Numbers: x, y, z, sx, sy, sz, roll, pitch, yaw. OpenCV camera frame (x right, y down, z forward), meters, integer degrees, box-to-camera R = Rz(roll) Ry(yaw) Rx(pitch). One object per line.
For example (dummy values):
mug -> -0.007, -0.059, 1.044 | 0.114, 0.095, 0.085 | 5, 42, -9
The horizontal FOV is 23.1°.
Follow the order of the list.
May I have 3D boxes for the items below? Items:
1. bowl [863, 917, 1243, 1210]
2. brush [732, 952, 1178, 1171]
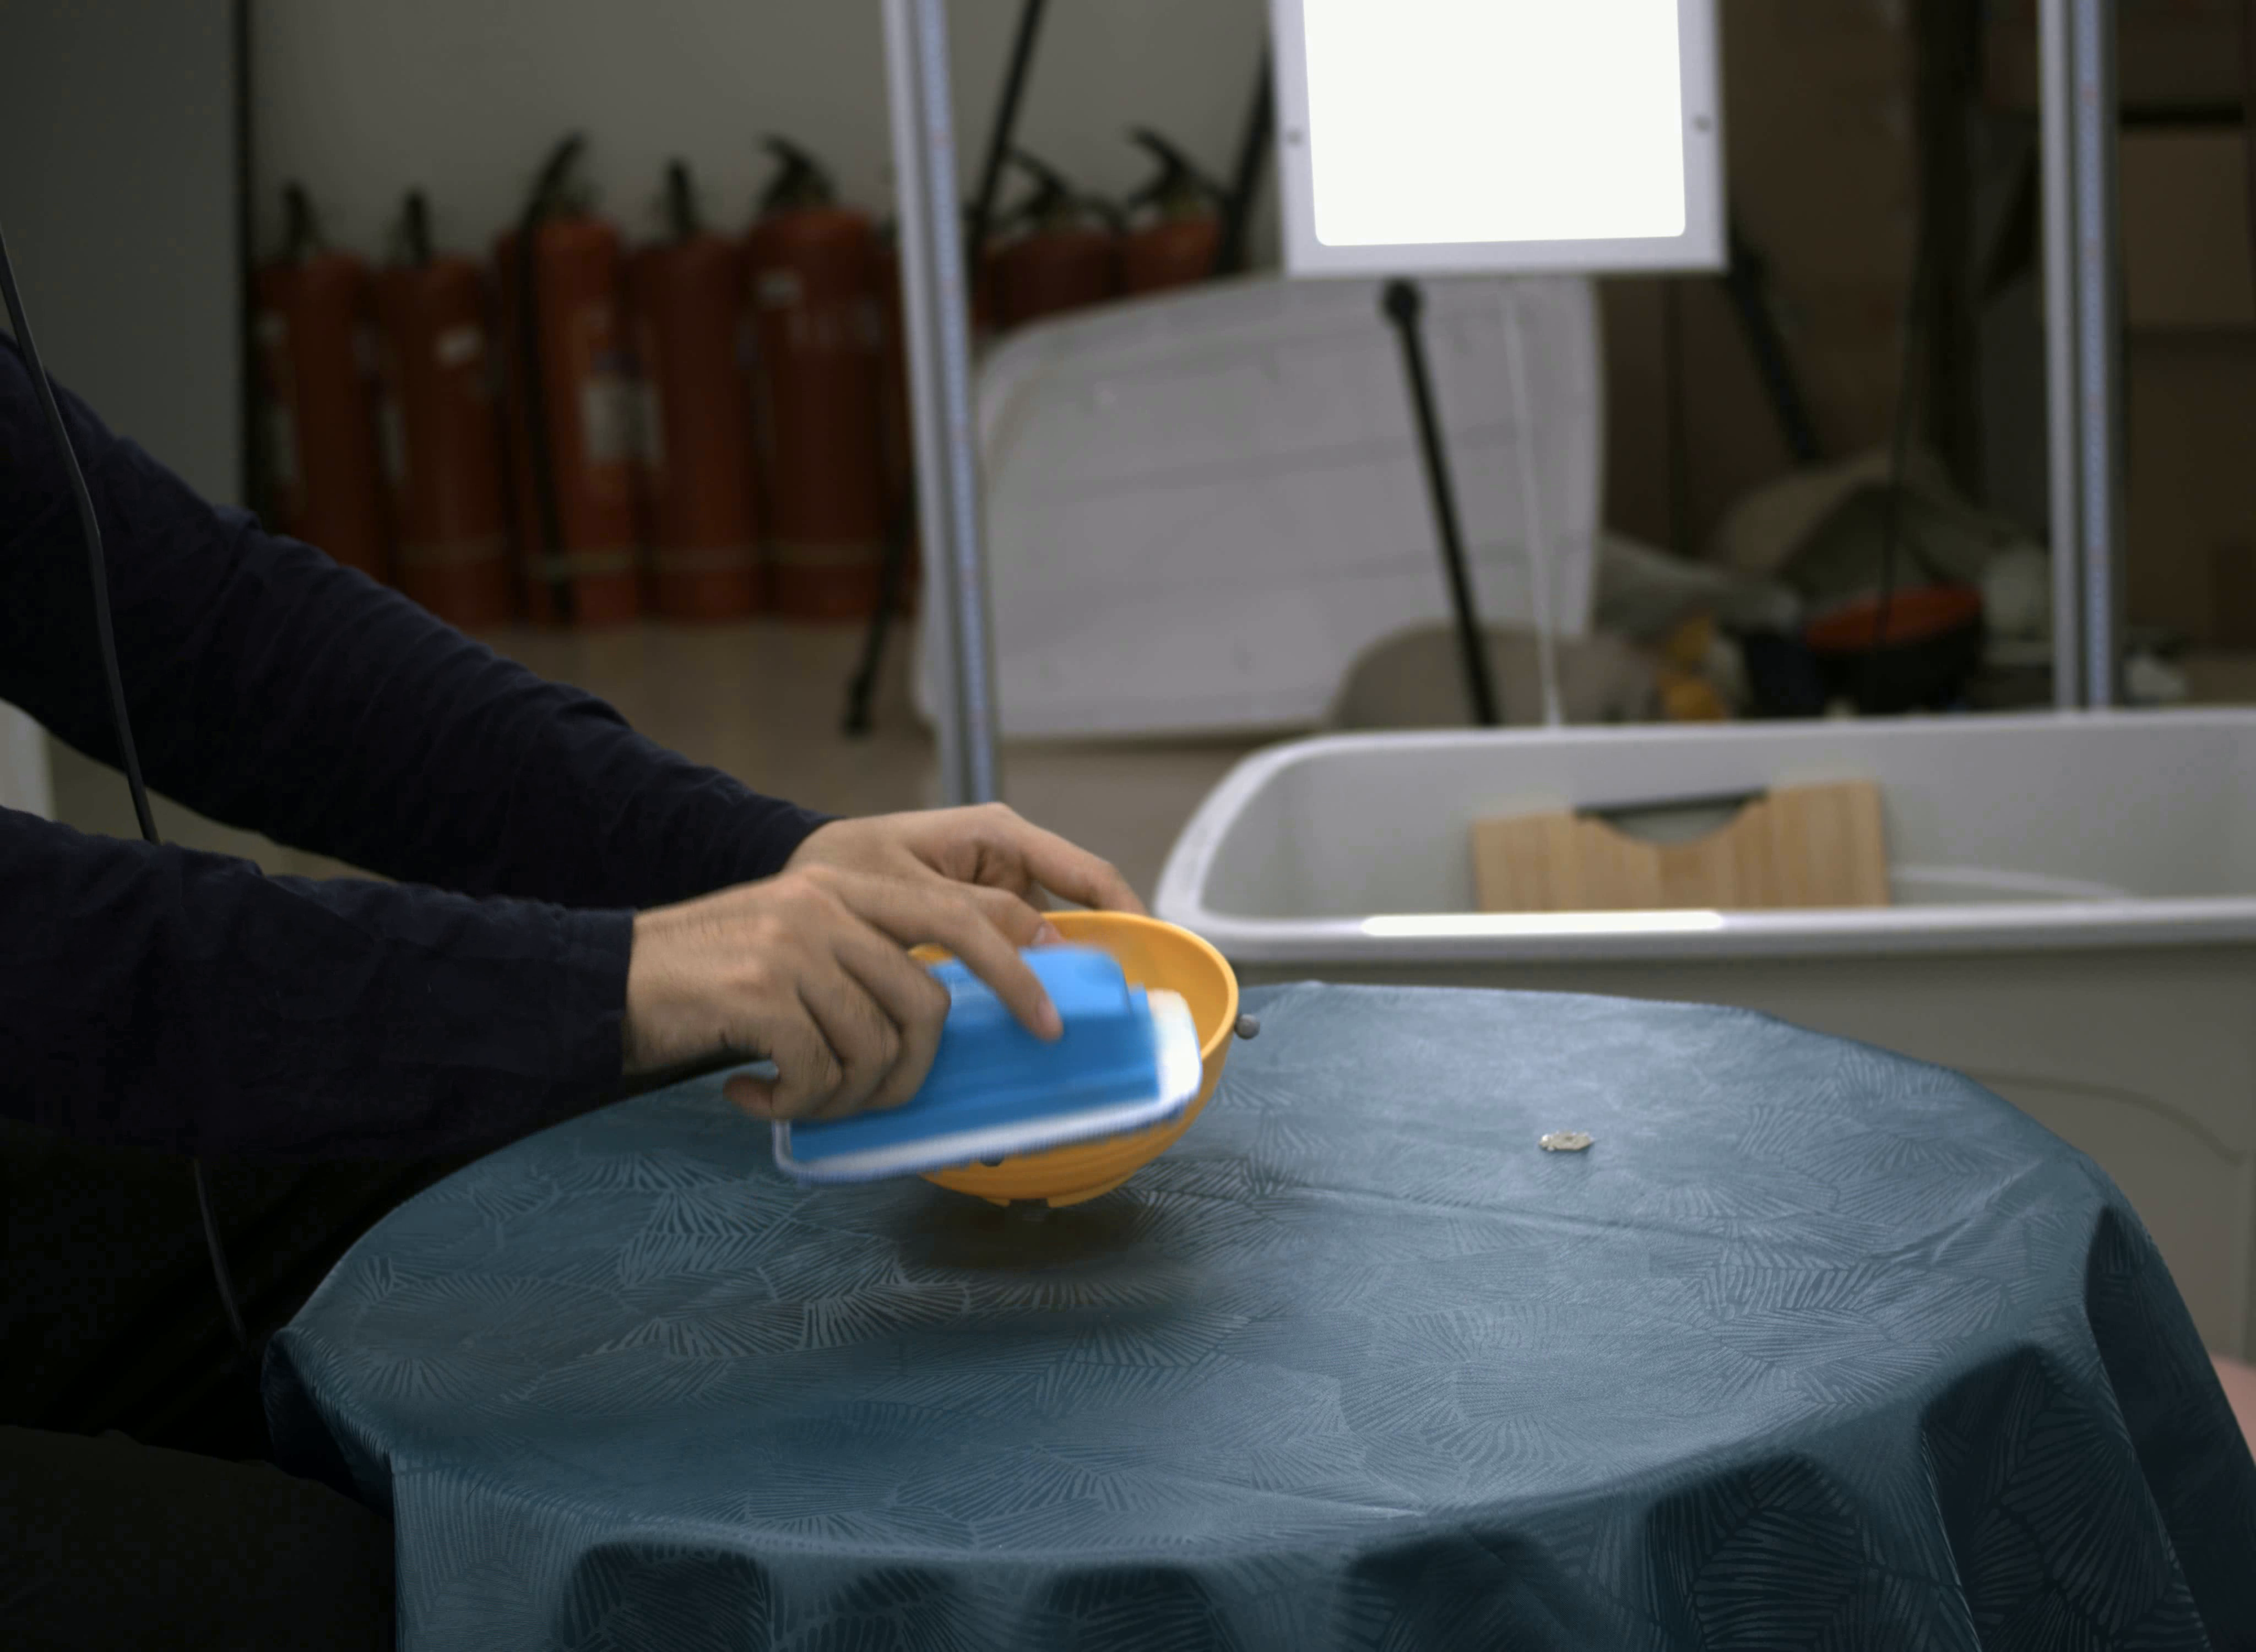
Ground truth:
bowl -> -0.030, 0.091, 1.901 | 0.145, 0.060, 0.145 | -5, 27, 1
brush -> -0.057, 0.071, 1.768 | 0.144, 0.056, 0.083 | -6, 24, 6
